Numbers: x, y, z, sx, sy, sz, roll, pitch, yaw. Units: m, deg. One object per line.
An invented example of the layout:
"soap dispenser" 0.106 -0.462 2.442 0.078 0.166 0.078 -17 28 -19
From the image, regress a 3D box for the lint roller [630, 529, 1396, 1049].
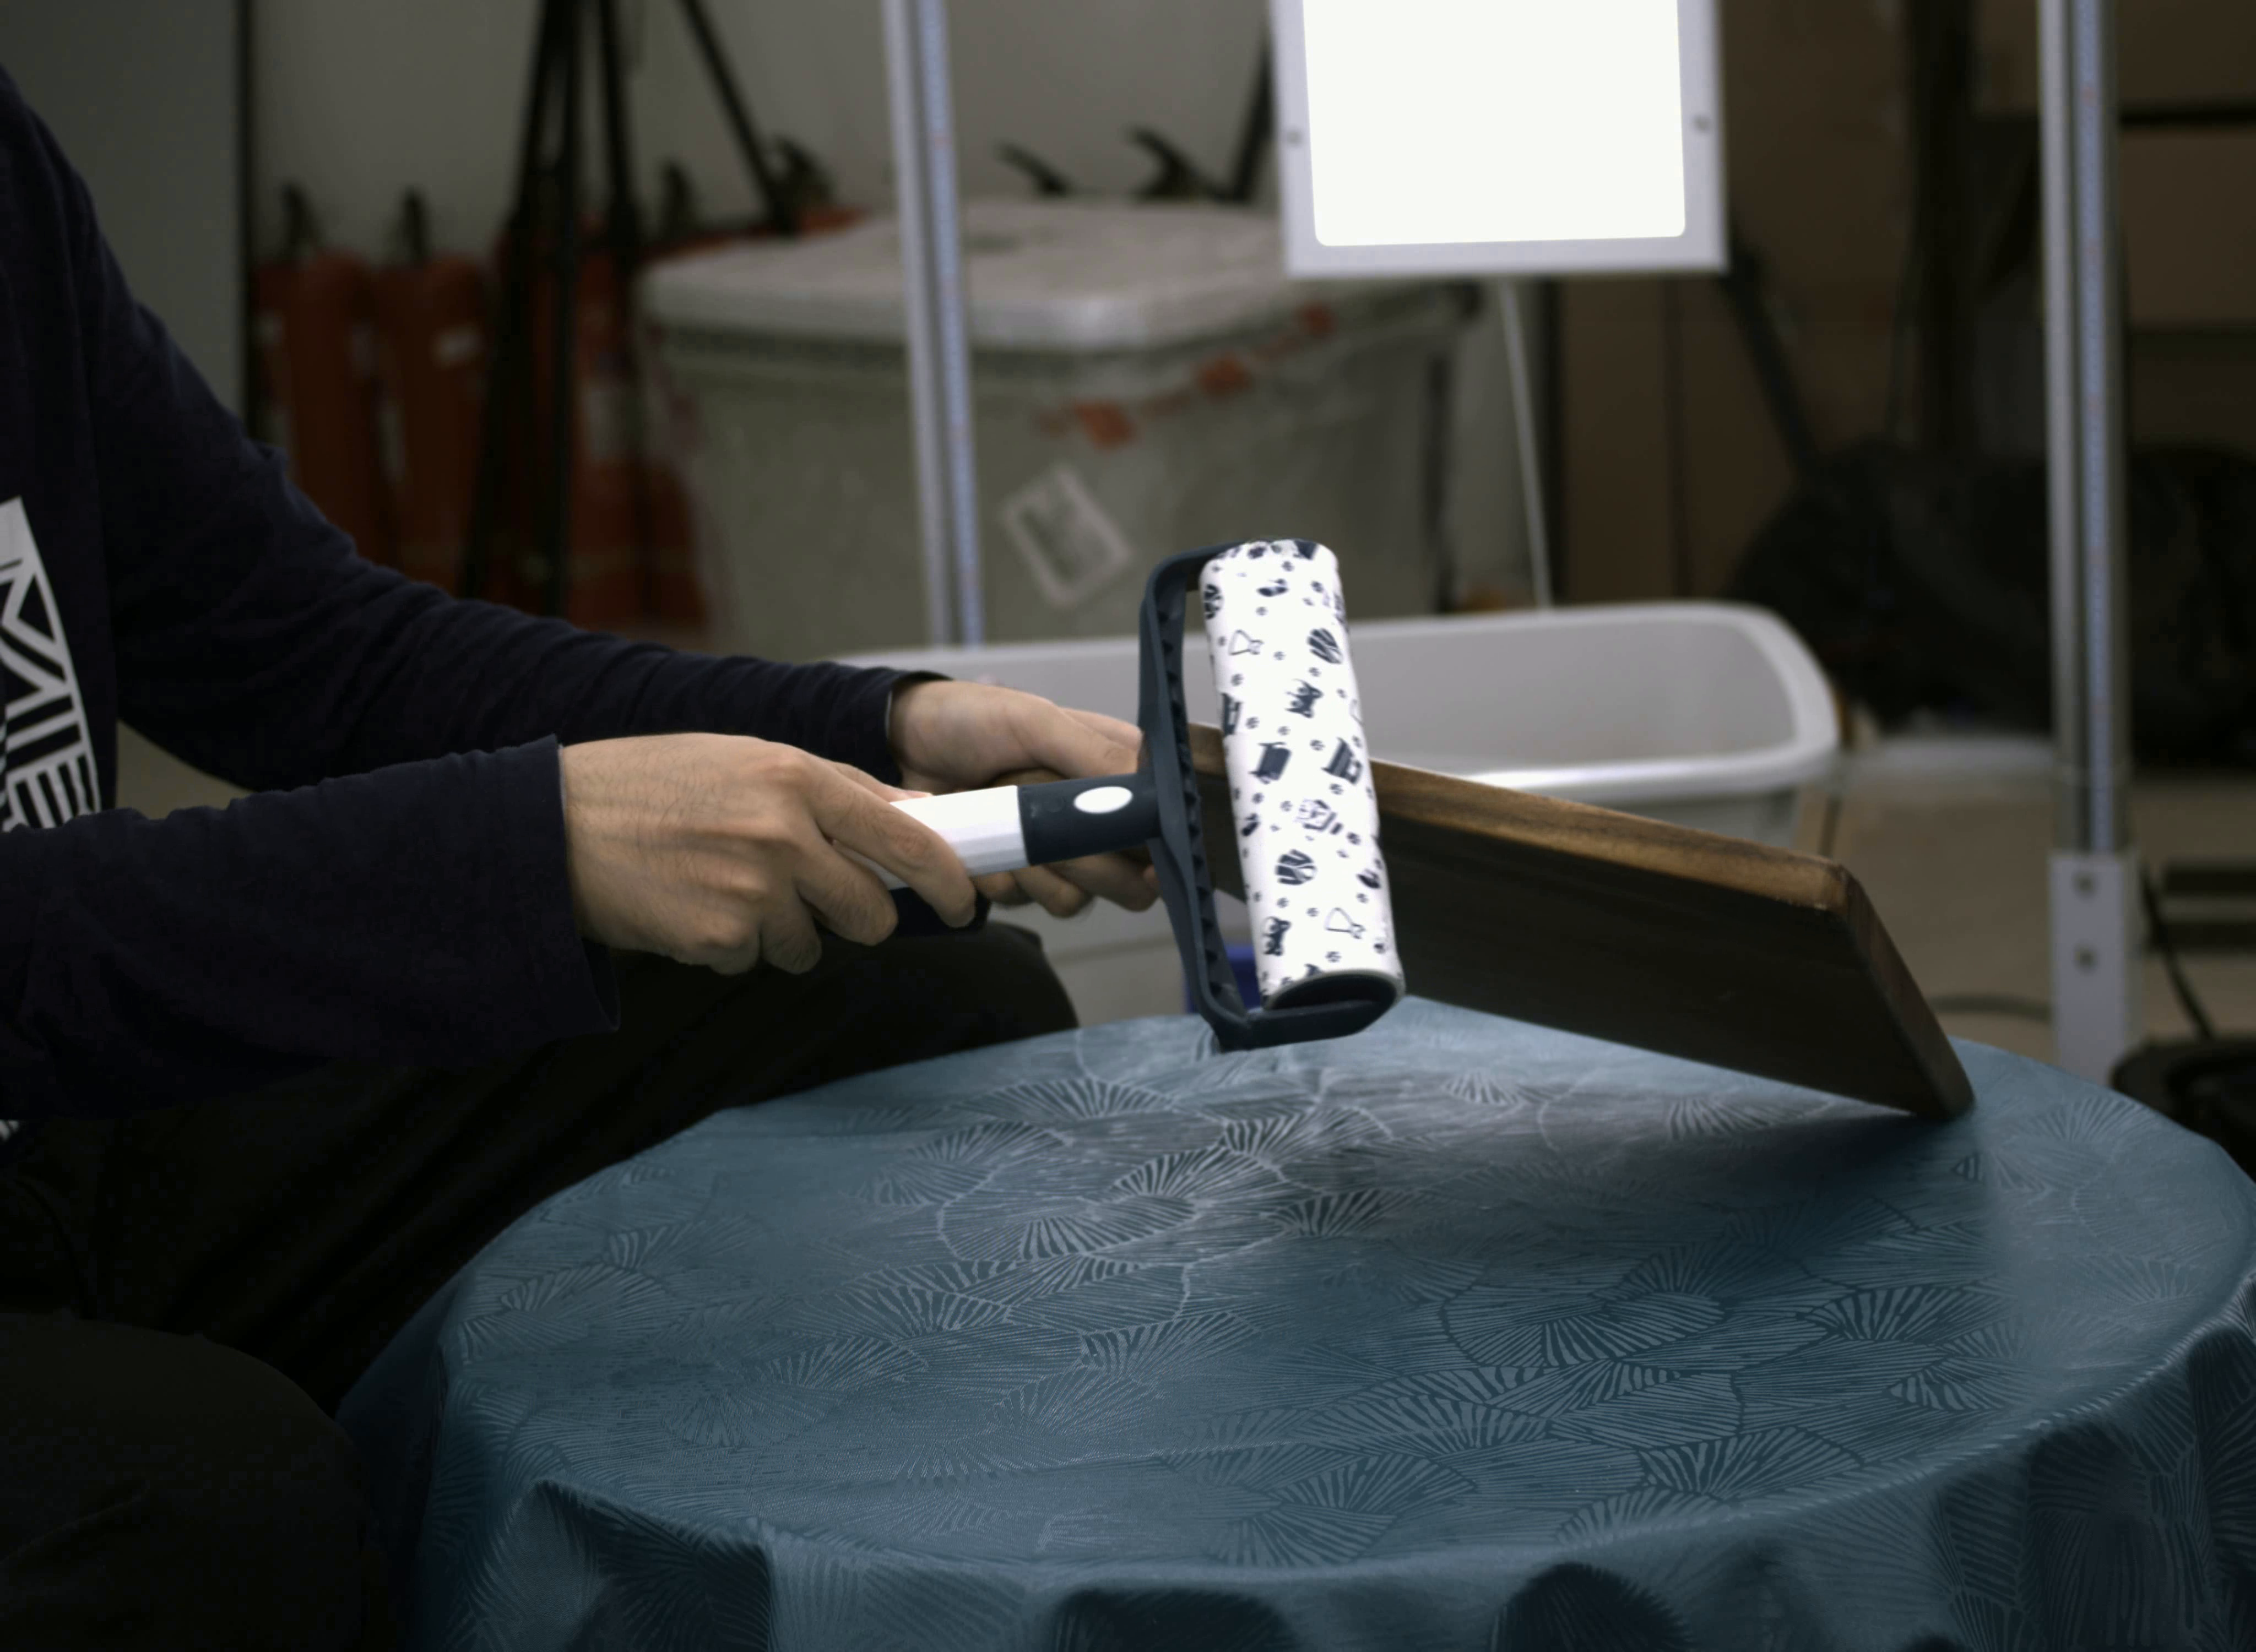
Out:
"lint roller" -0.044 0.003 1.807 0.247 0.176 0.050 -10 -25 4

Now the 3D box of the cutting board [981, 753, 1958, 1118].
"cutting board" 0.106 0.023 1.903 0.358 0.023 0.199 13 -18 27
